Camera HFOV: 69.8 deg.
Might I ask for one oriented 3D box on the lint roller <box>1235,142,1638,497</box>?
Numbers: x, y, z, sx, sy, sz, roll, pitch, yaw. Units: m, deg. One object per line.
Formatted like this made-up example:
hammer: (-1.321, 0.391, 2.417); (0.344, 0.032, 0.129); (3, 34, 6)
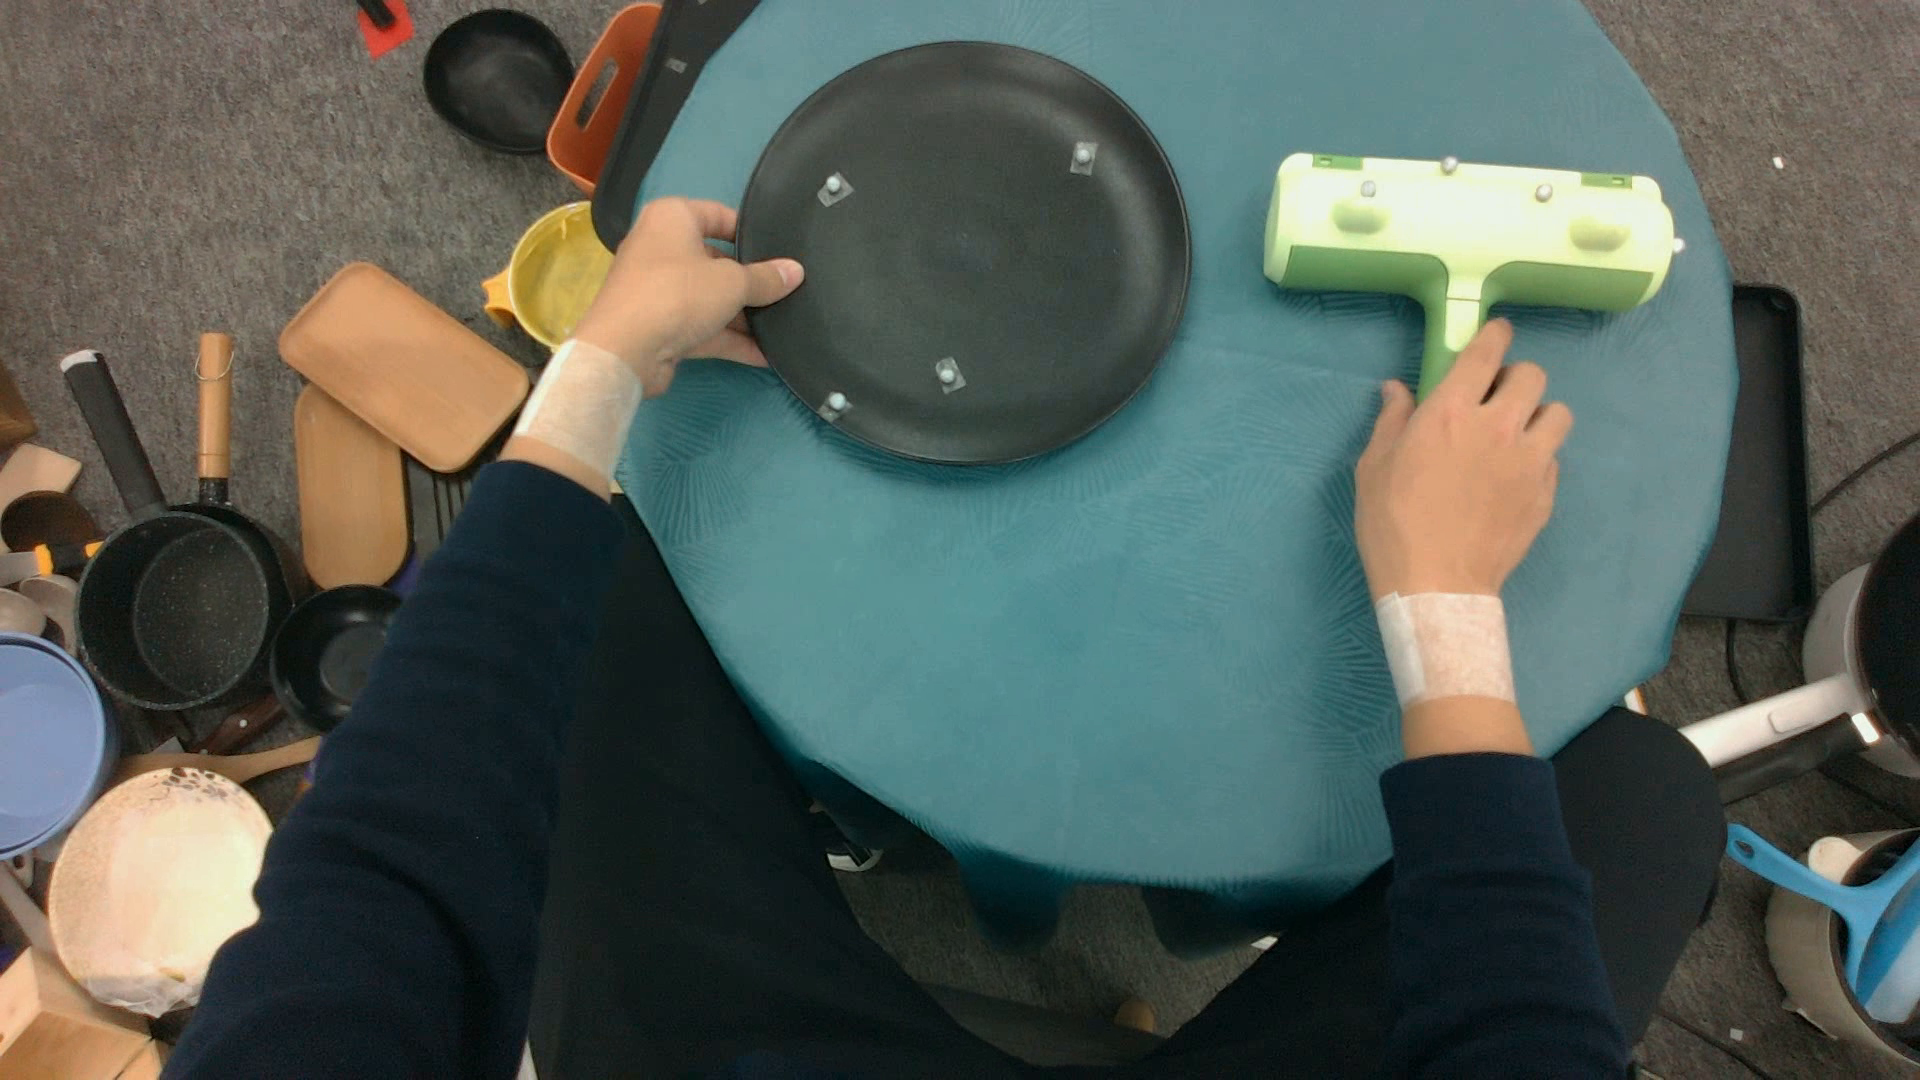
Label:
lint roller: (0.242, -0.119, 0.694); (0.198, 0.082, 0.184); (3, 71, 3)

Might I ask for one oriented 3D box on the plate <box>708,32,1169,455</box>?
plate: (-0.011, -0.159, 0.736); (0.244, 0.023, 0.245); (0, 76, -2)
